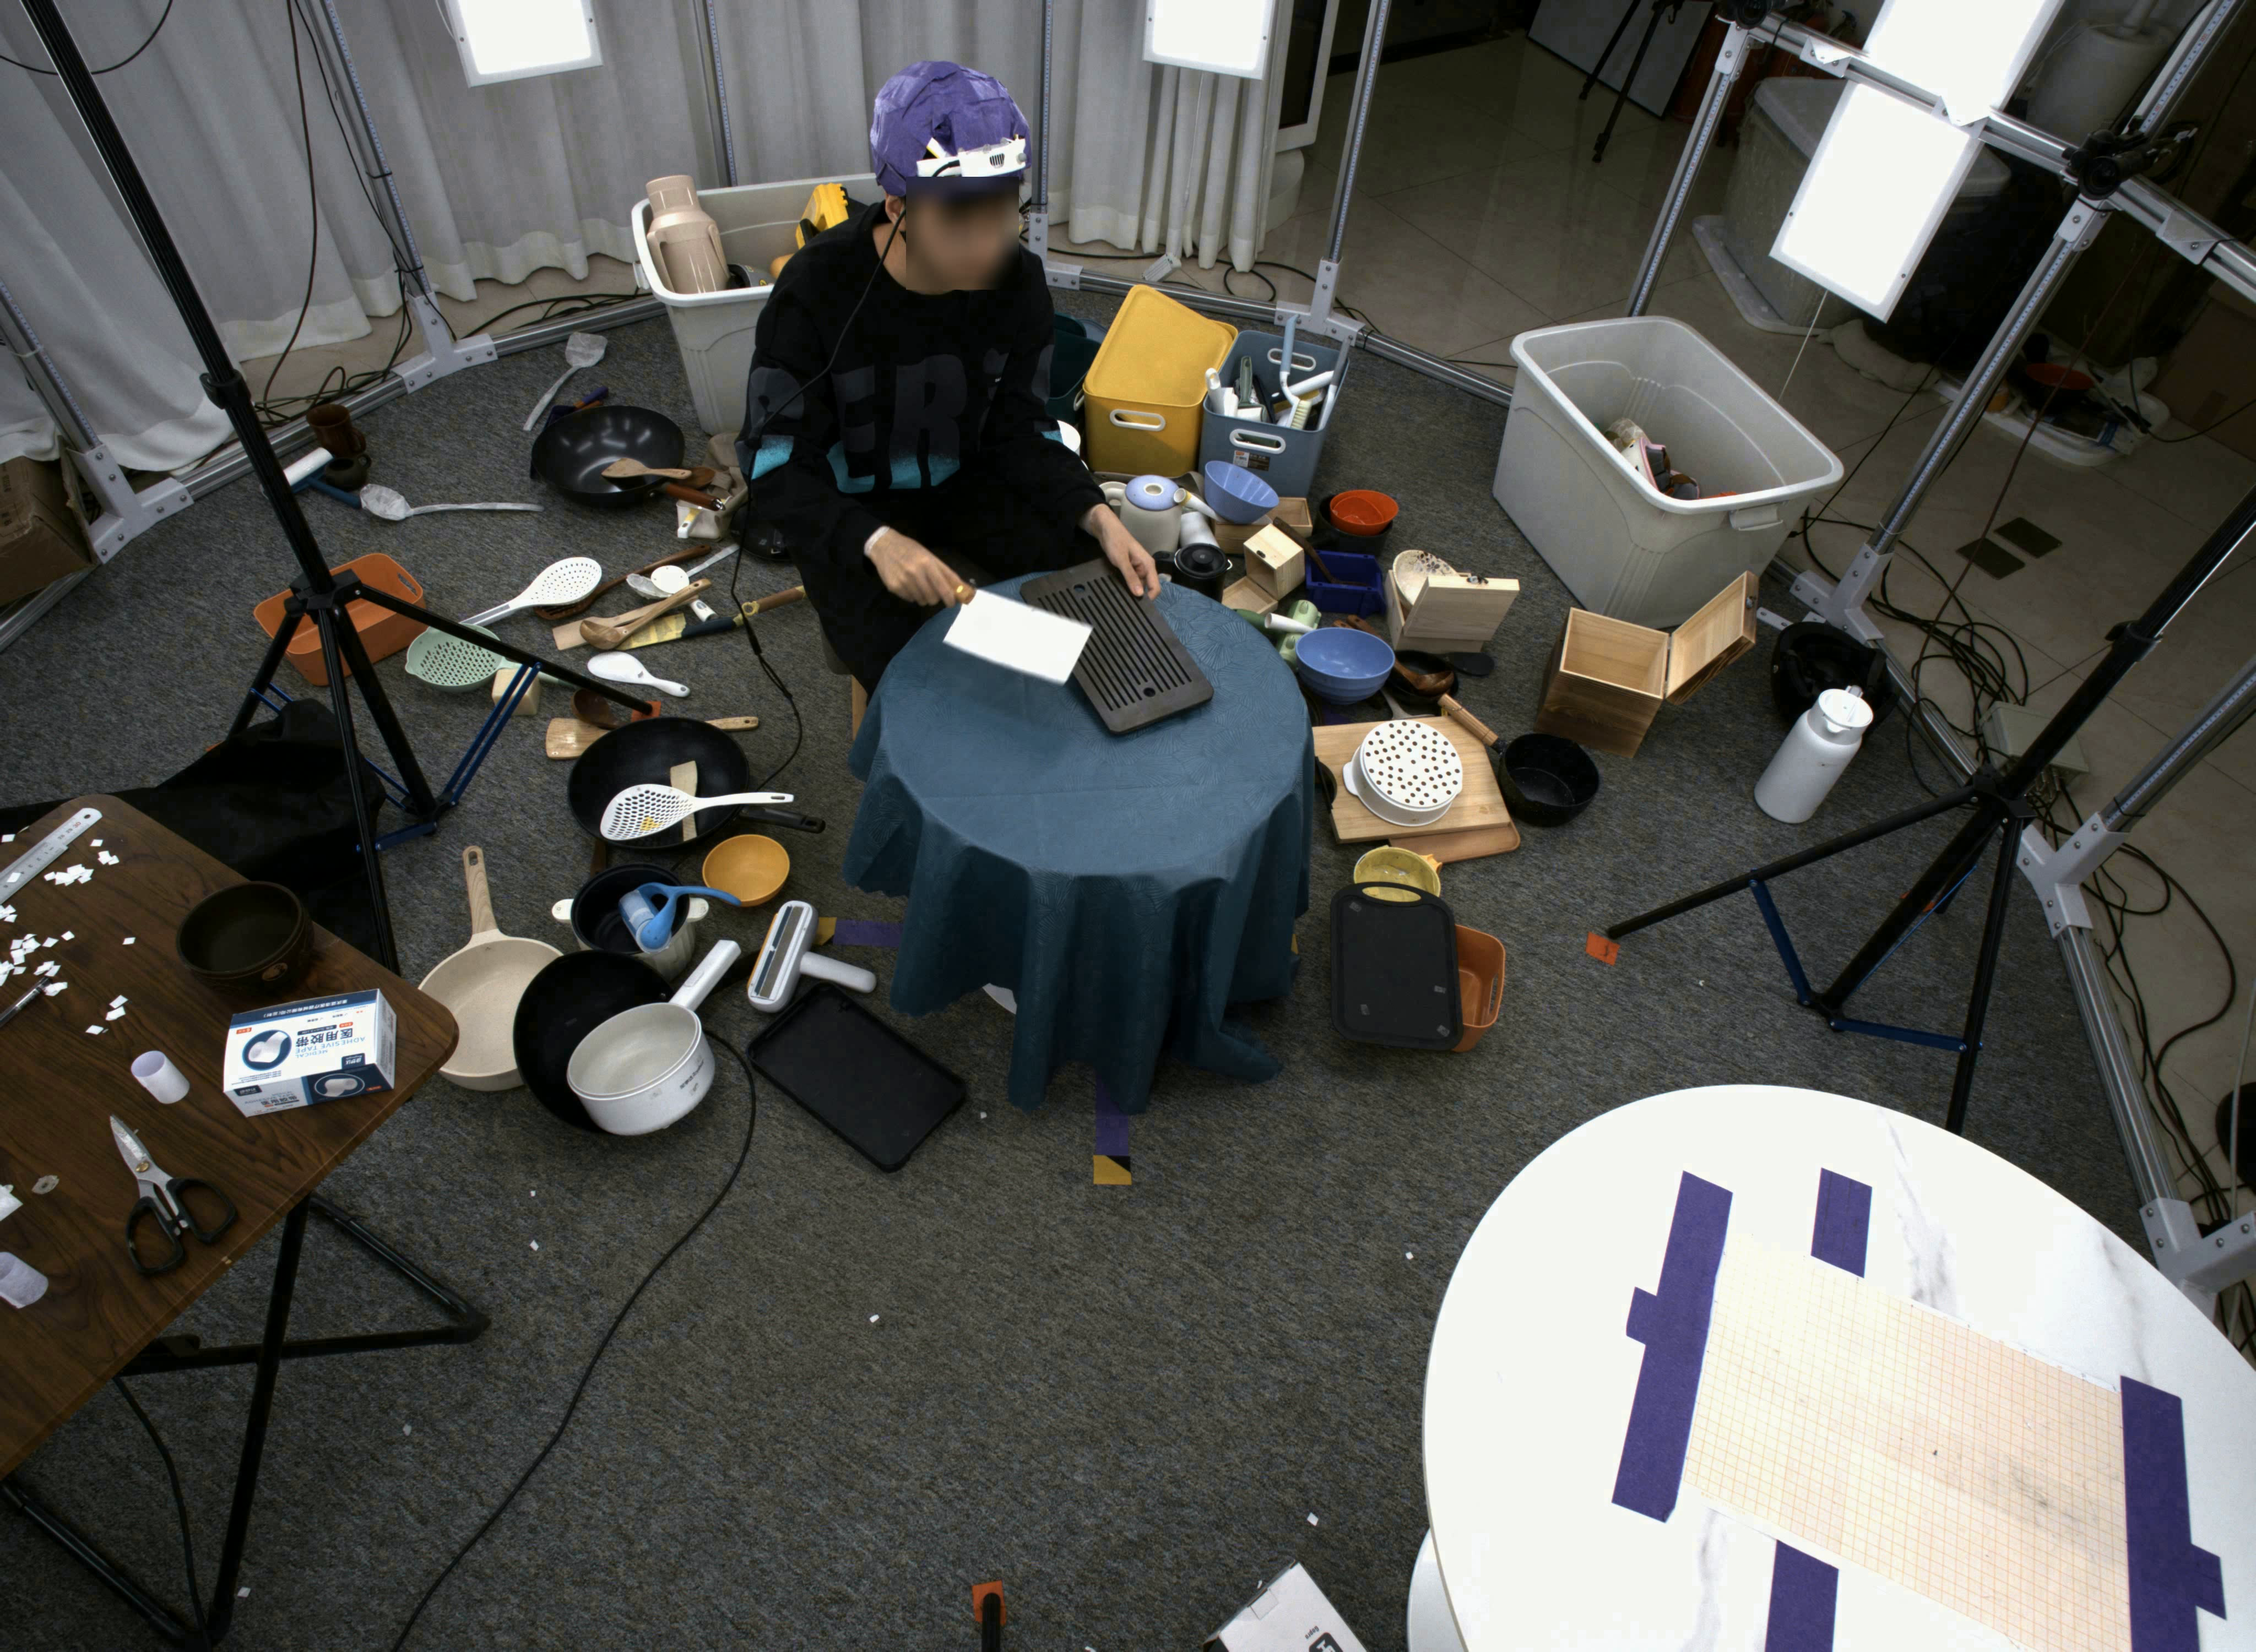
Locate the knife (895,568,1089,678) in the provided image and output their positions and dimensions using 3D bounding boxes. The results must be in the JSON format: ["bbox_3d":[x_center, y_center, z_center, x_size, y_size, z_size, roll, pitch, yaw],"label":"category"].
[{"bbox_3d":[-0.201,-0.277,1.770,0.308,0.020,0.094,22,75,19],"label":"knife"}]

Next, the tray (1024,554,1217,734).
[{"bbox_3d":[-0.014,-0.269,1.868,0.170,0.018,0.312,-21,59,-18],"label":"tray"}]
